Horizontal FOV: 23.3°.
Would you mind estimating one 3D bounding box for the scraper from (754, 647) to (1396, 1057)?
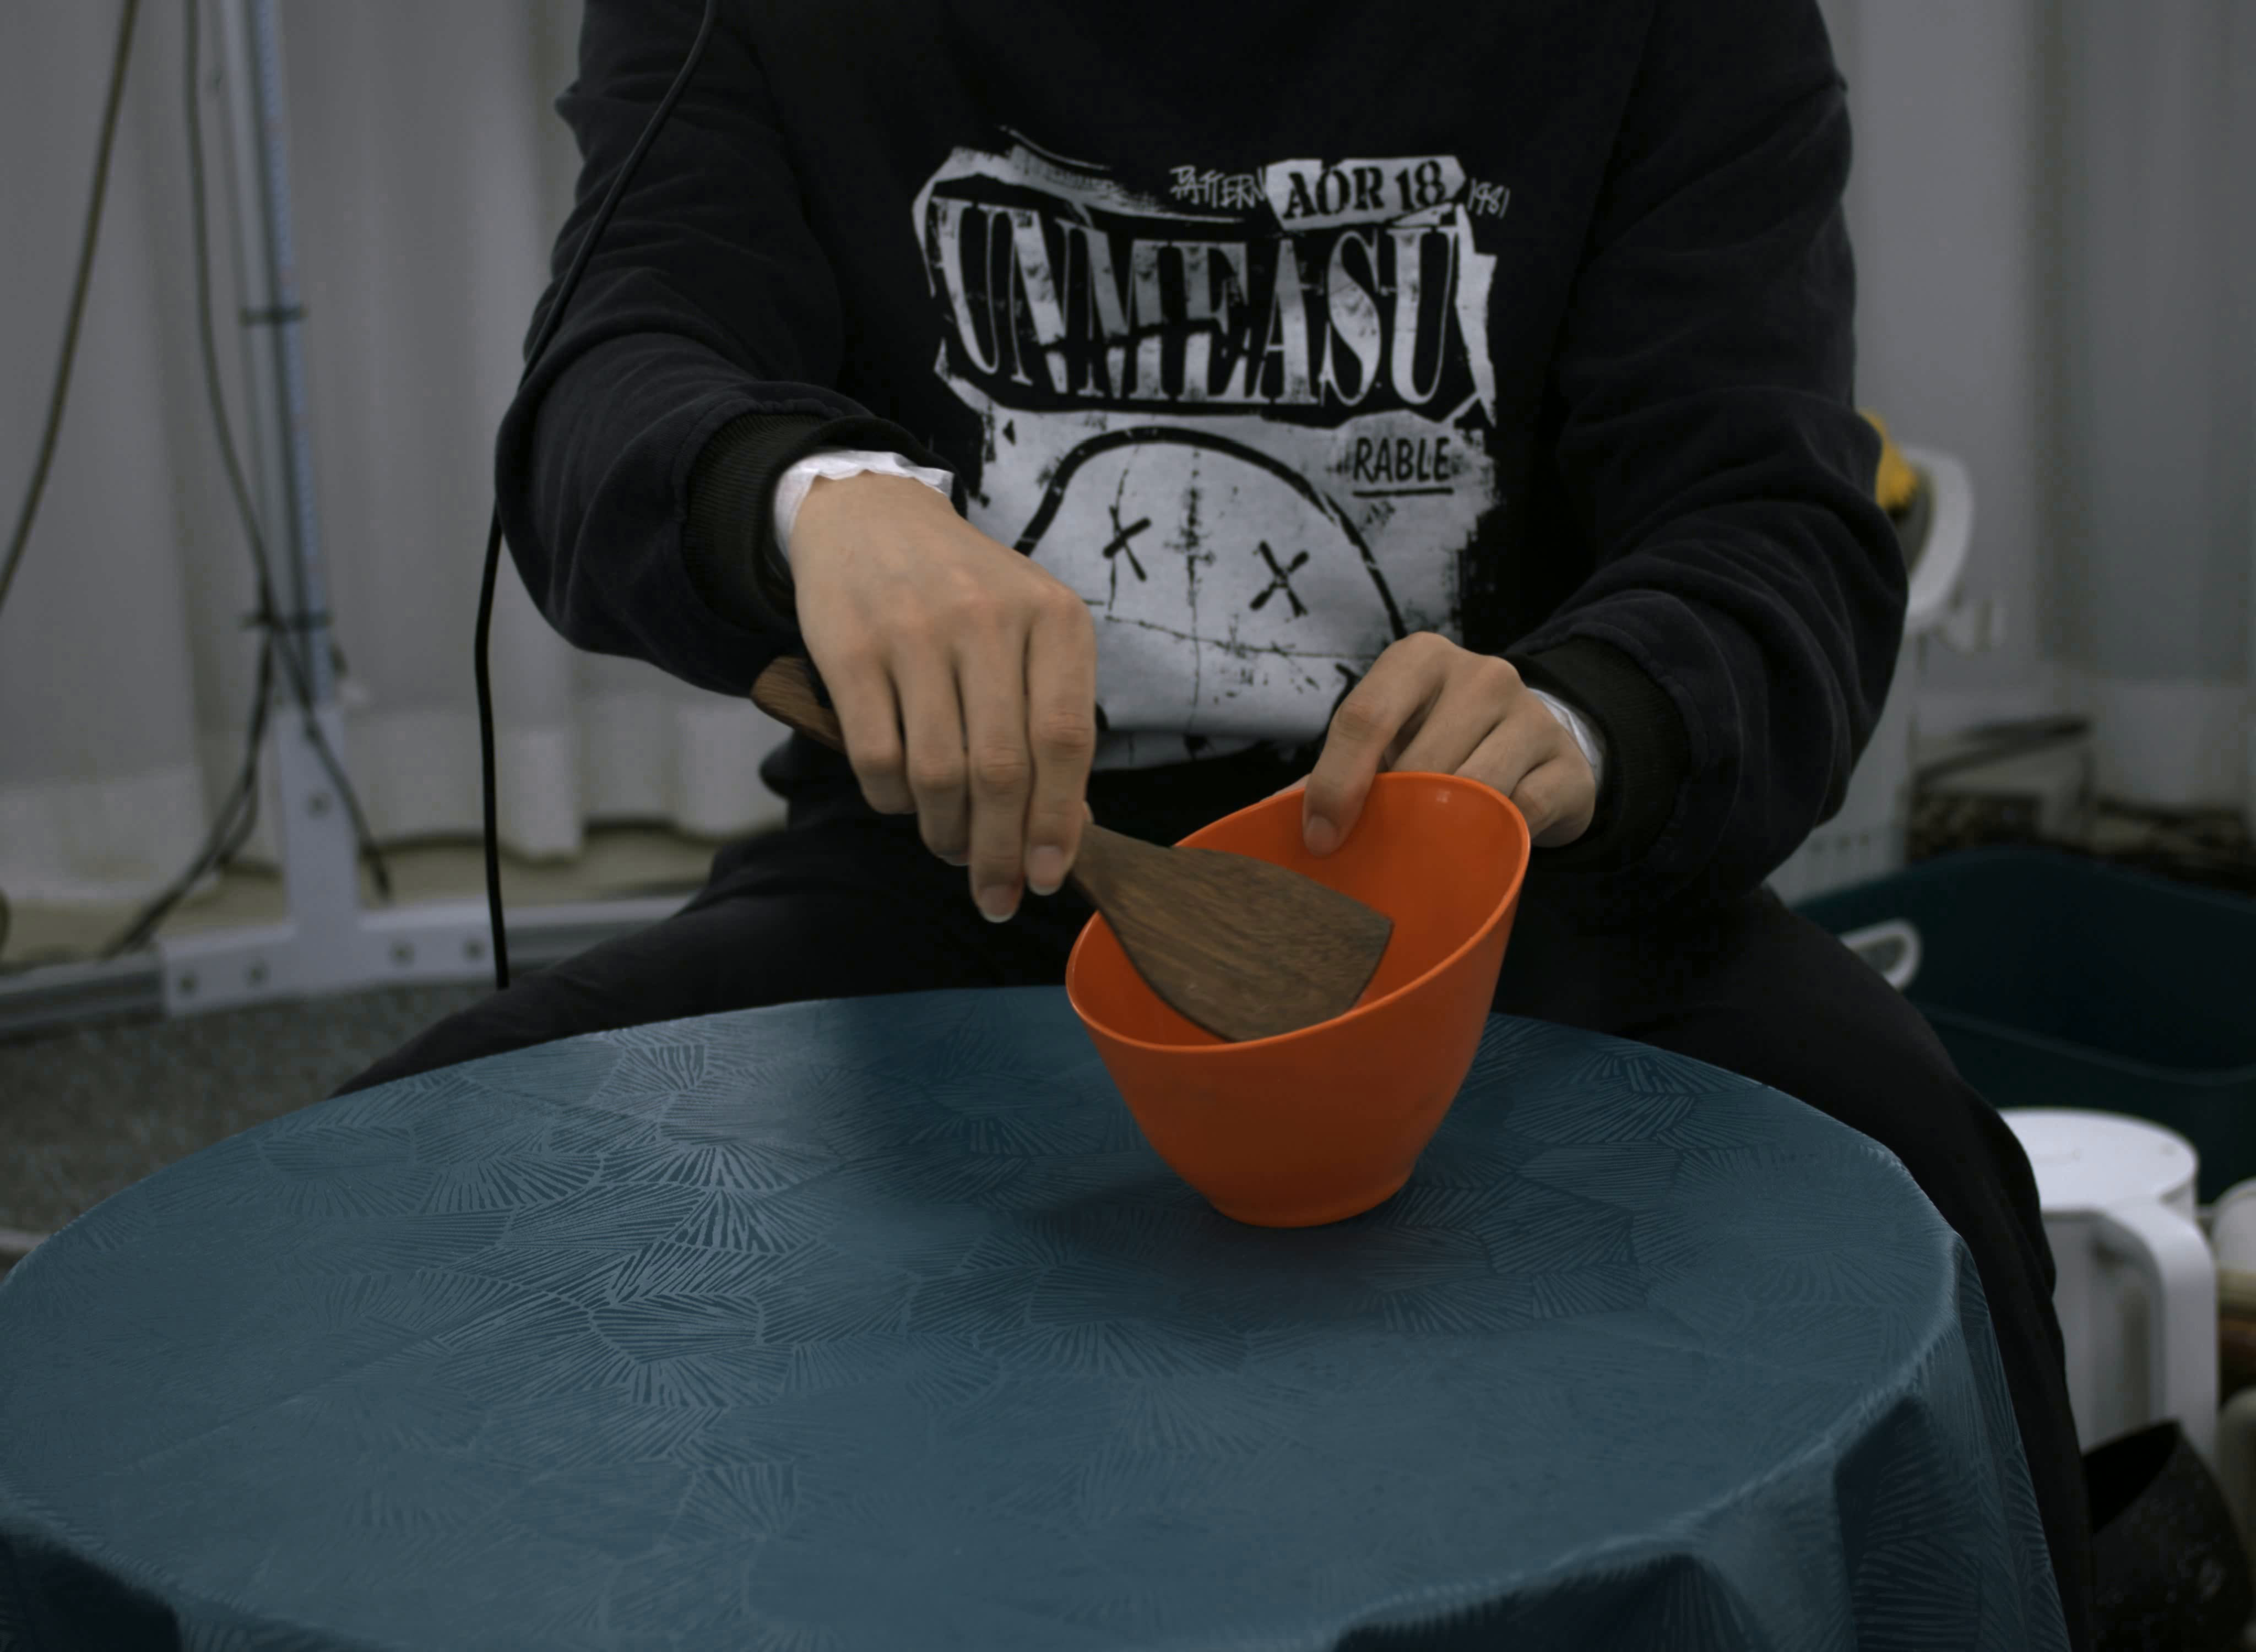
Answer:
[{"bbox_3d":[-0.020,0.002,1.653,0.212,0.011,0.076,30,45,12],"label":"scraper"}]

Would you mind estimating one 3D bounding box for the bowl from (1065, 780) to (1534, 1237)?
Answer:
[{"bbox_3d":[0.058,0.062,1.678,0.147,0.104,0.150,-8,26,4],"label":"bowl"}]
